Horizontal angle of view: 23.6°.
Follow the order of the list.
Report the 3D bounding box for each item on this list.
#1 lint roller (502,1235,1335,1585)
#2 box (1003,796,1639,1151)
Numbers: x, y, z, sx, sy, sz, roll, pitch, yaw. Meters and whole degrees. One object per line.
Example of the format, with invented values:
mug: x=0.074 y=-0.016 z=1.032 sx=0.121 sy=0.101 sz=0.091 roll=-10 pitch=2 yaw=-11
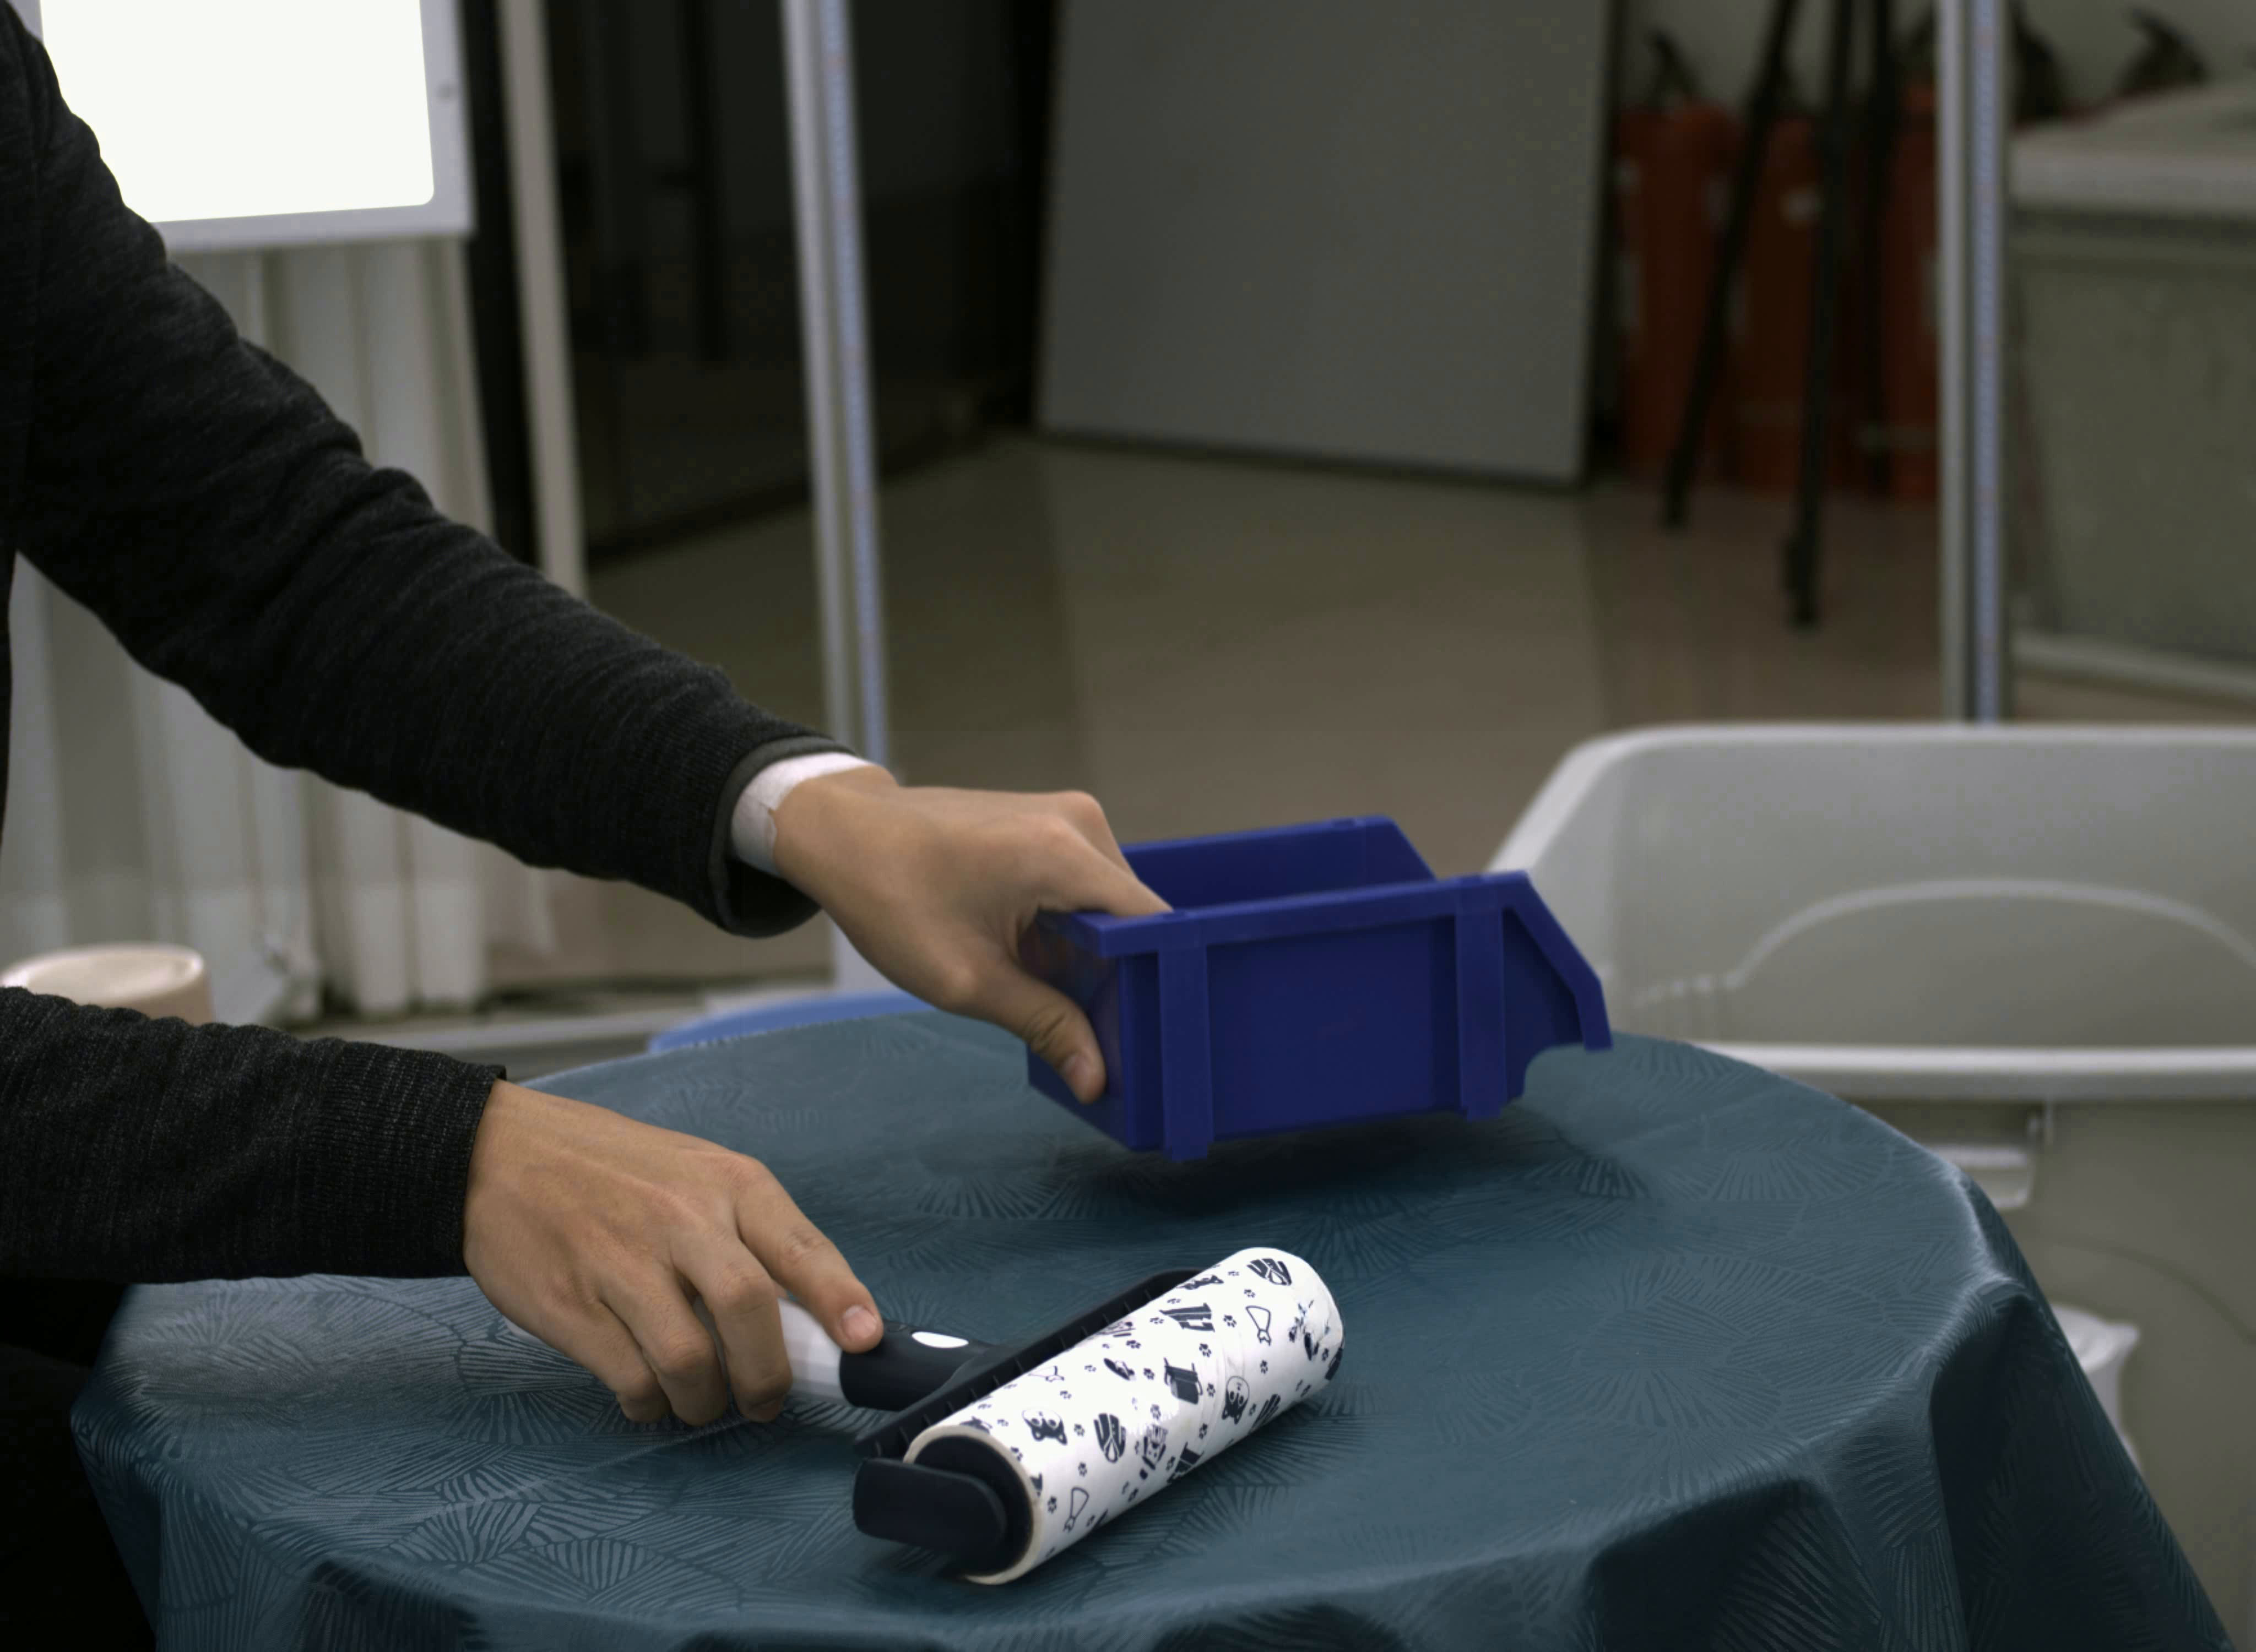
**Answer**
lint roller: x=-0.084 y=0.151 z=1.558 sx=0.248 sy=0.051 sz=0.173 roll=7 pitch=18 yaw=33
box: x=0.063 y=0.046 z=1.785 sx=0.176 sy=0.083 sz=0.125 roll=-9 pitch=11 yaw=-17
